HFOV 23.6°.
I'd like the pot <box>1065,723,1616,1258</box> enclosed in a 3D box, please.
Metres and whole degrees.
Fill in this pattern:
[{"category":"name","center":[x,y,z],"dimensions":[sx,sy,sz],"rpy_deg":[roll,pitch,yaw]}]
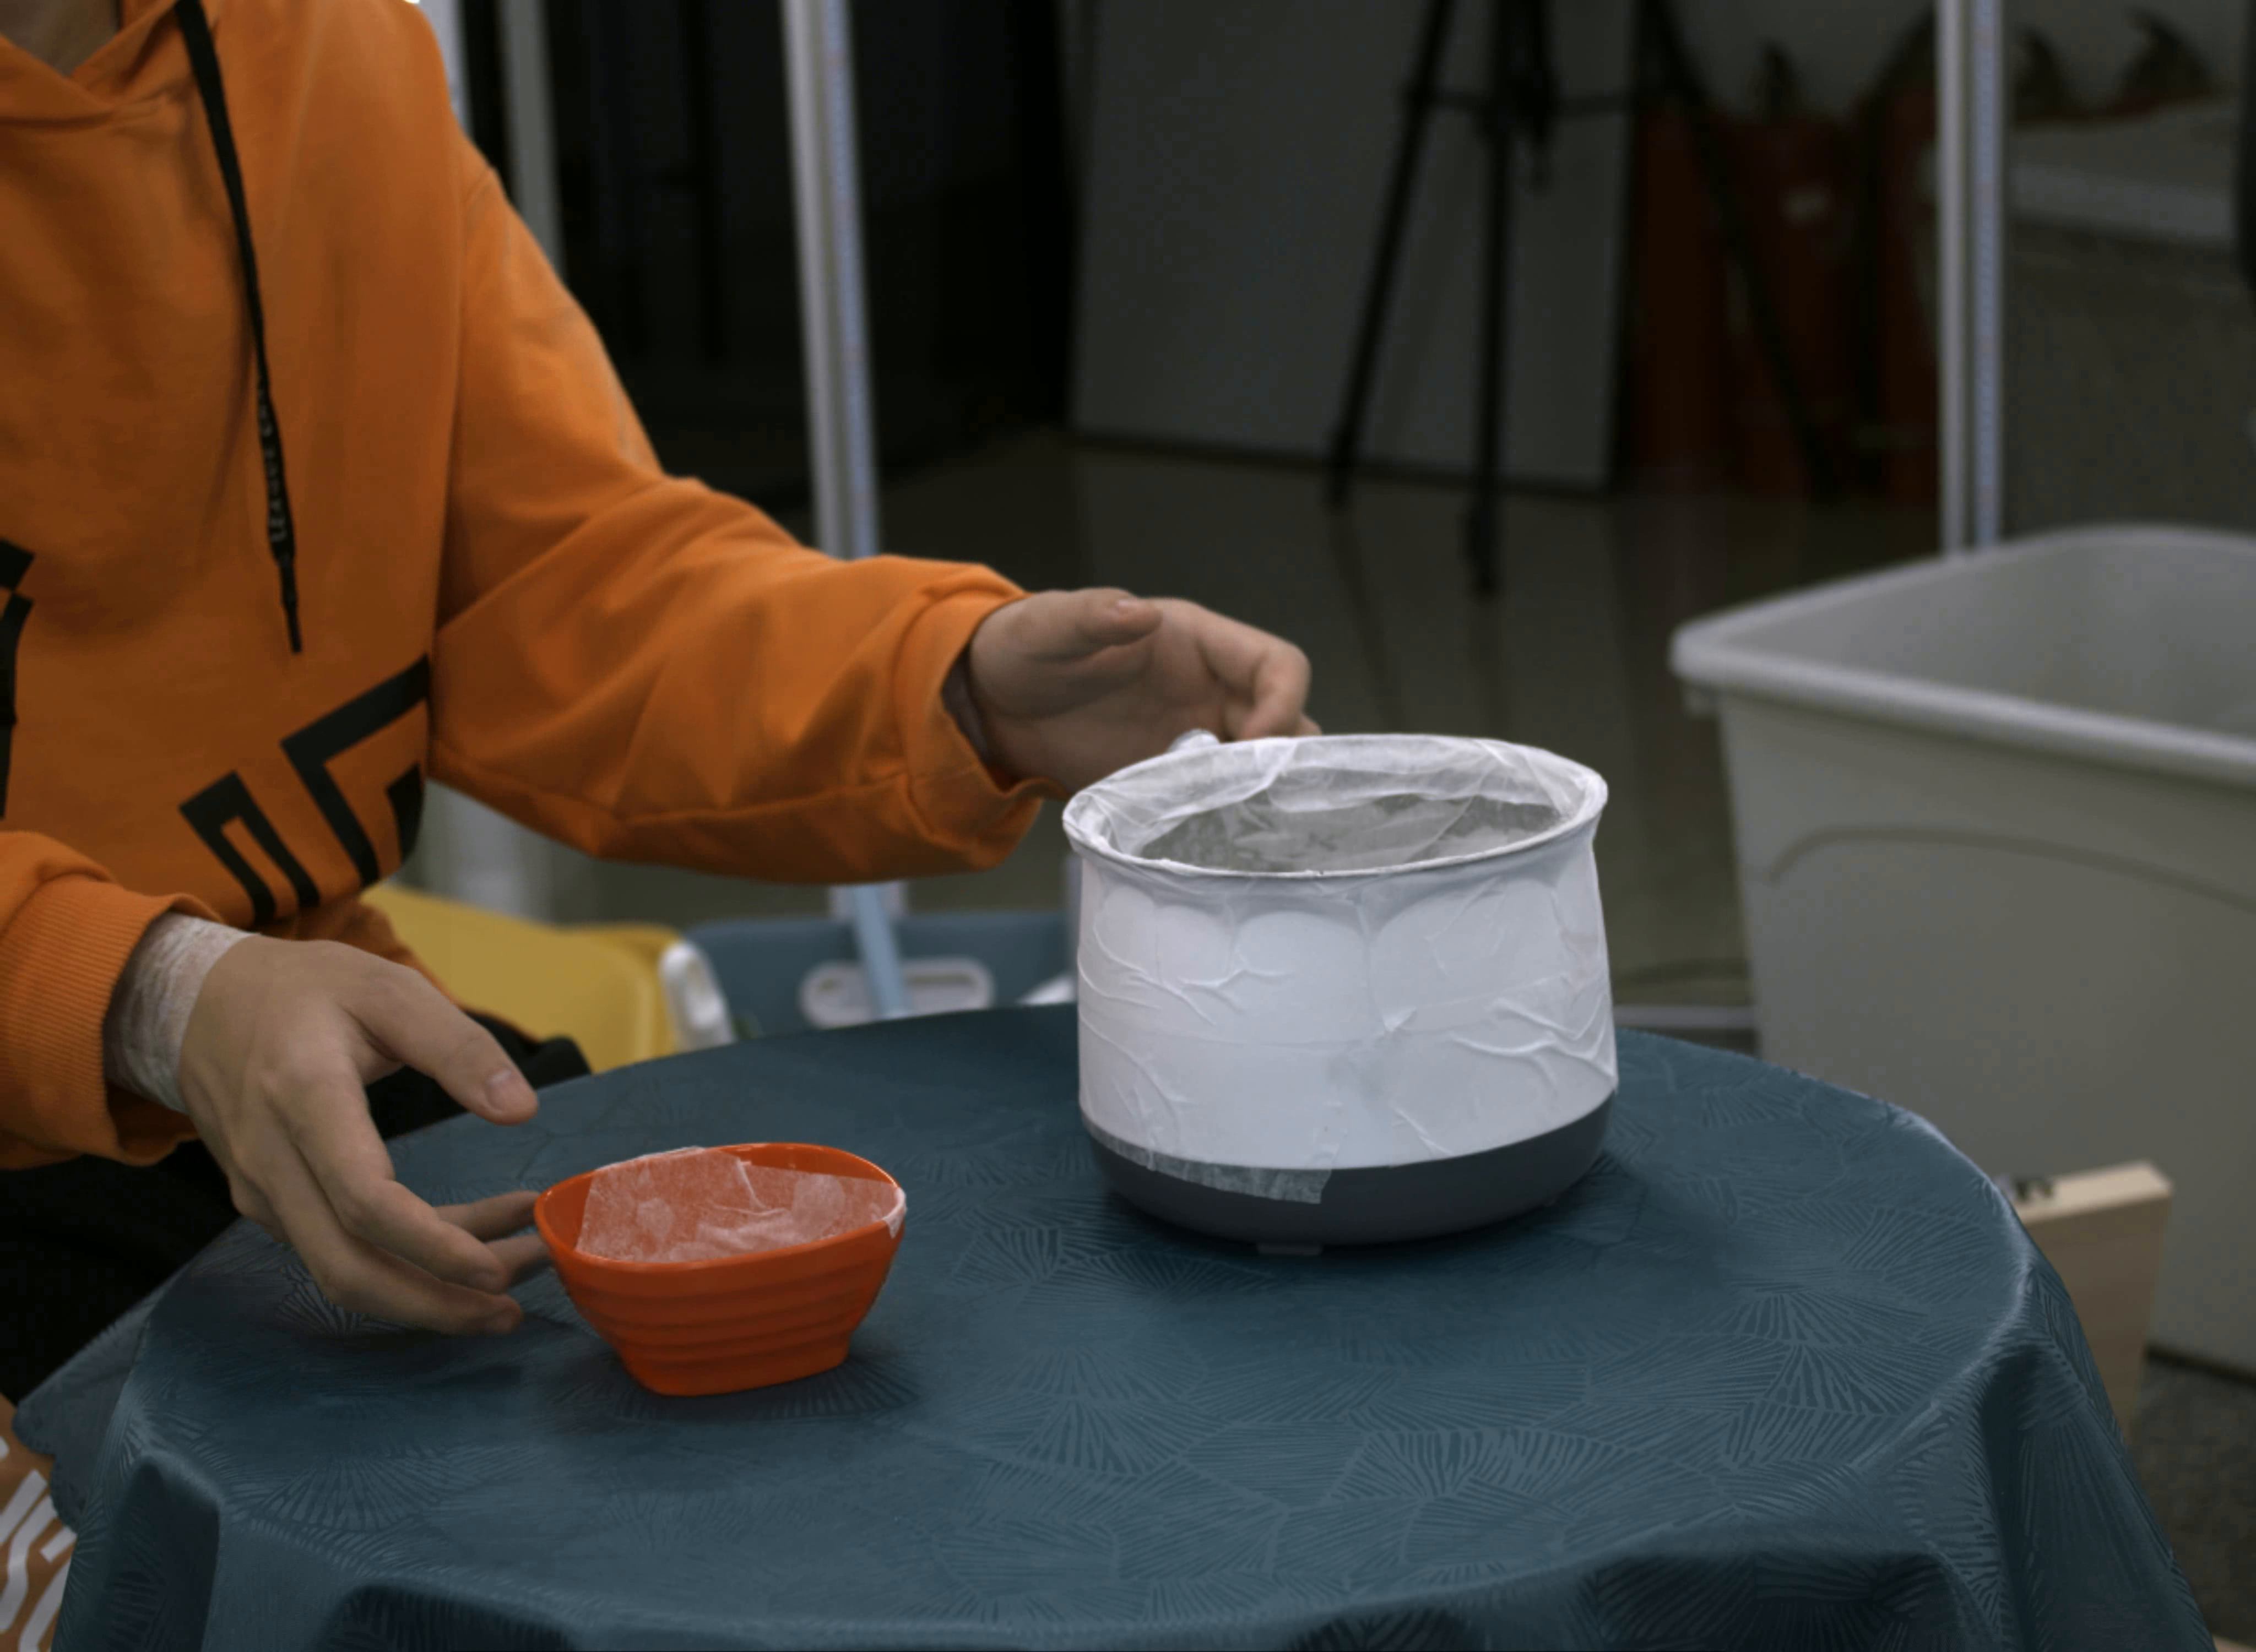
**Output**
[{"category":"pot","center":[0.057,0.047,1.767],"dimensions":[0.175,0.138,0.236],"rpy_deg":[-10,15,-25]}]

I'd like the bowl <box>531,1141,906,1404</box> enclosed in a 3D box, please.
[{"category":"bowl","center":[-0.122,0.137,1.636],"dimensions":[0.117,0.052,0.119],"rpy_deg":[-5,15,0]}]
